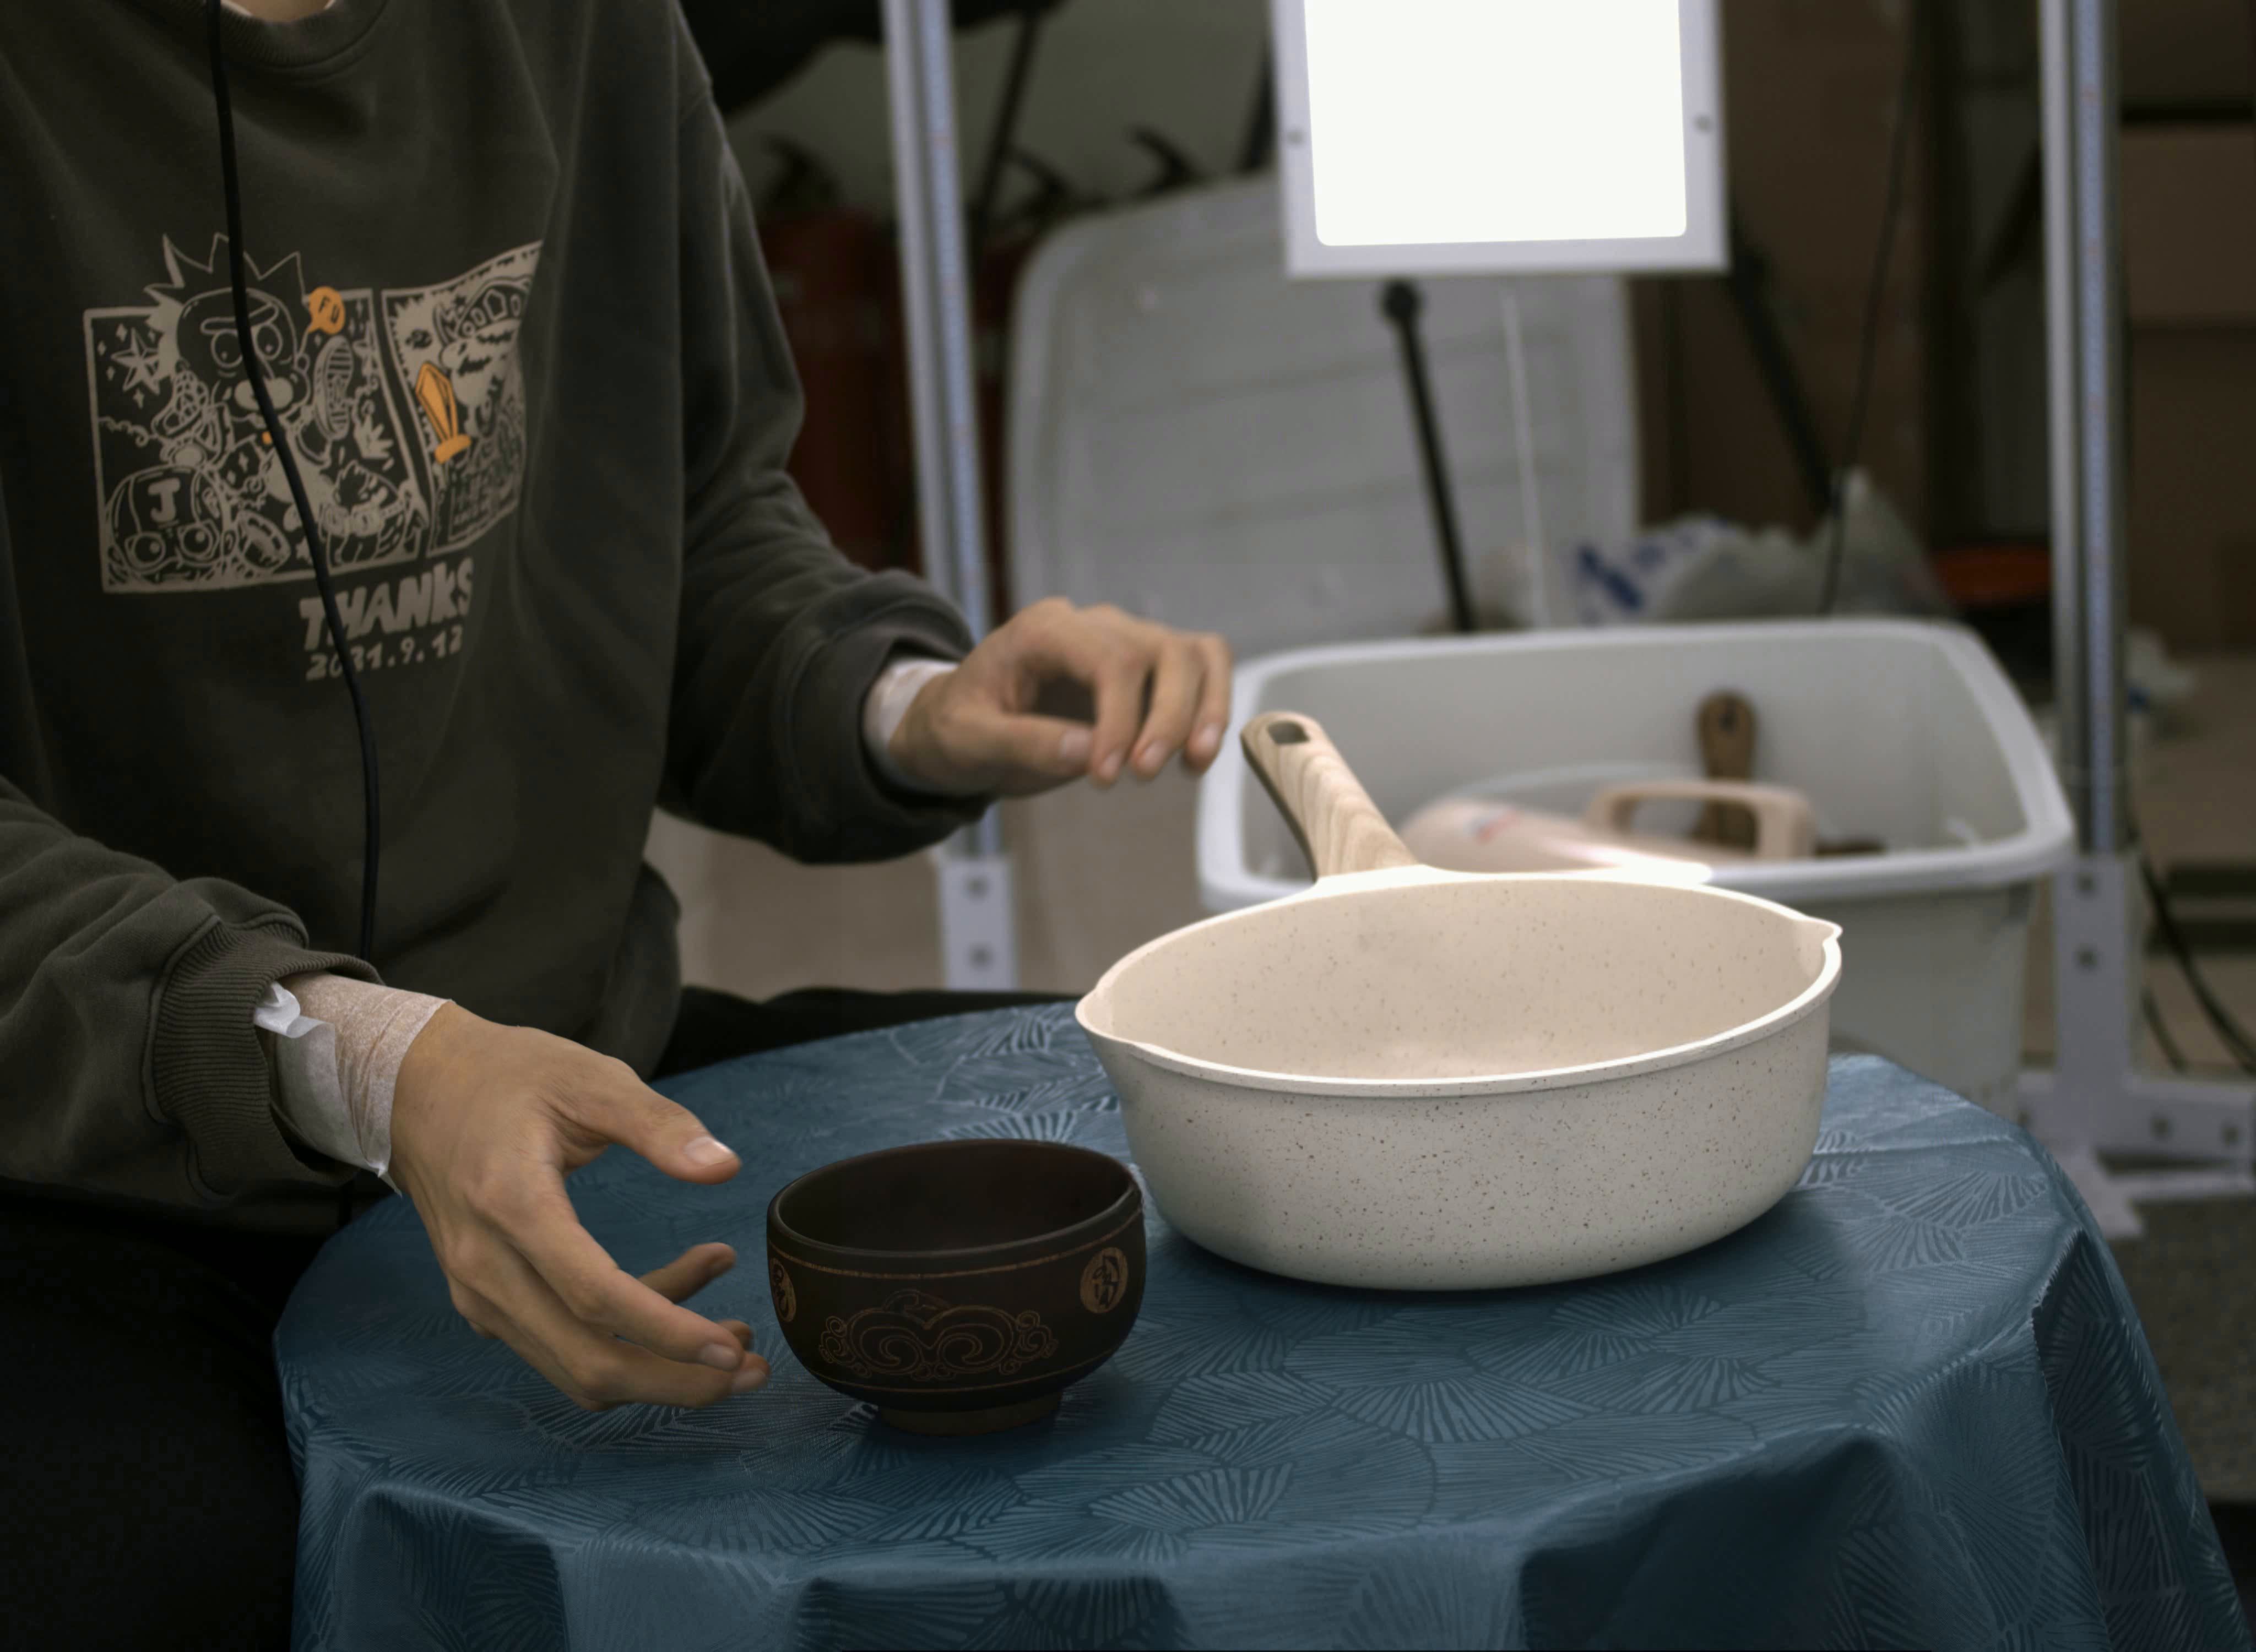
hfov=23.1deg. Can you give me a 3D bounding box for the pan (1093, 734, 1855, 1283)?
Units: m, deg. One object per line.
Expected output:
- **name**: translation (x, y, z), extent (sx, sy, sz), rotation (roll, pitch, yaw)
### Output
- **pan**: translation (0.103, 0.059, 1.930), extent (0.261, 0.102, 0.437), rotation (-9, 14, -8)

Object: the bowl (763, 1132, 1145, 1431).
- **bowl**: translation (-0.051, 0.144, 1.695), extent (0.118, 0.070, 0.118), rotation (-7, 13, 0)
